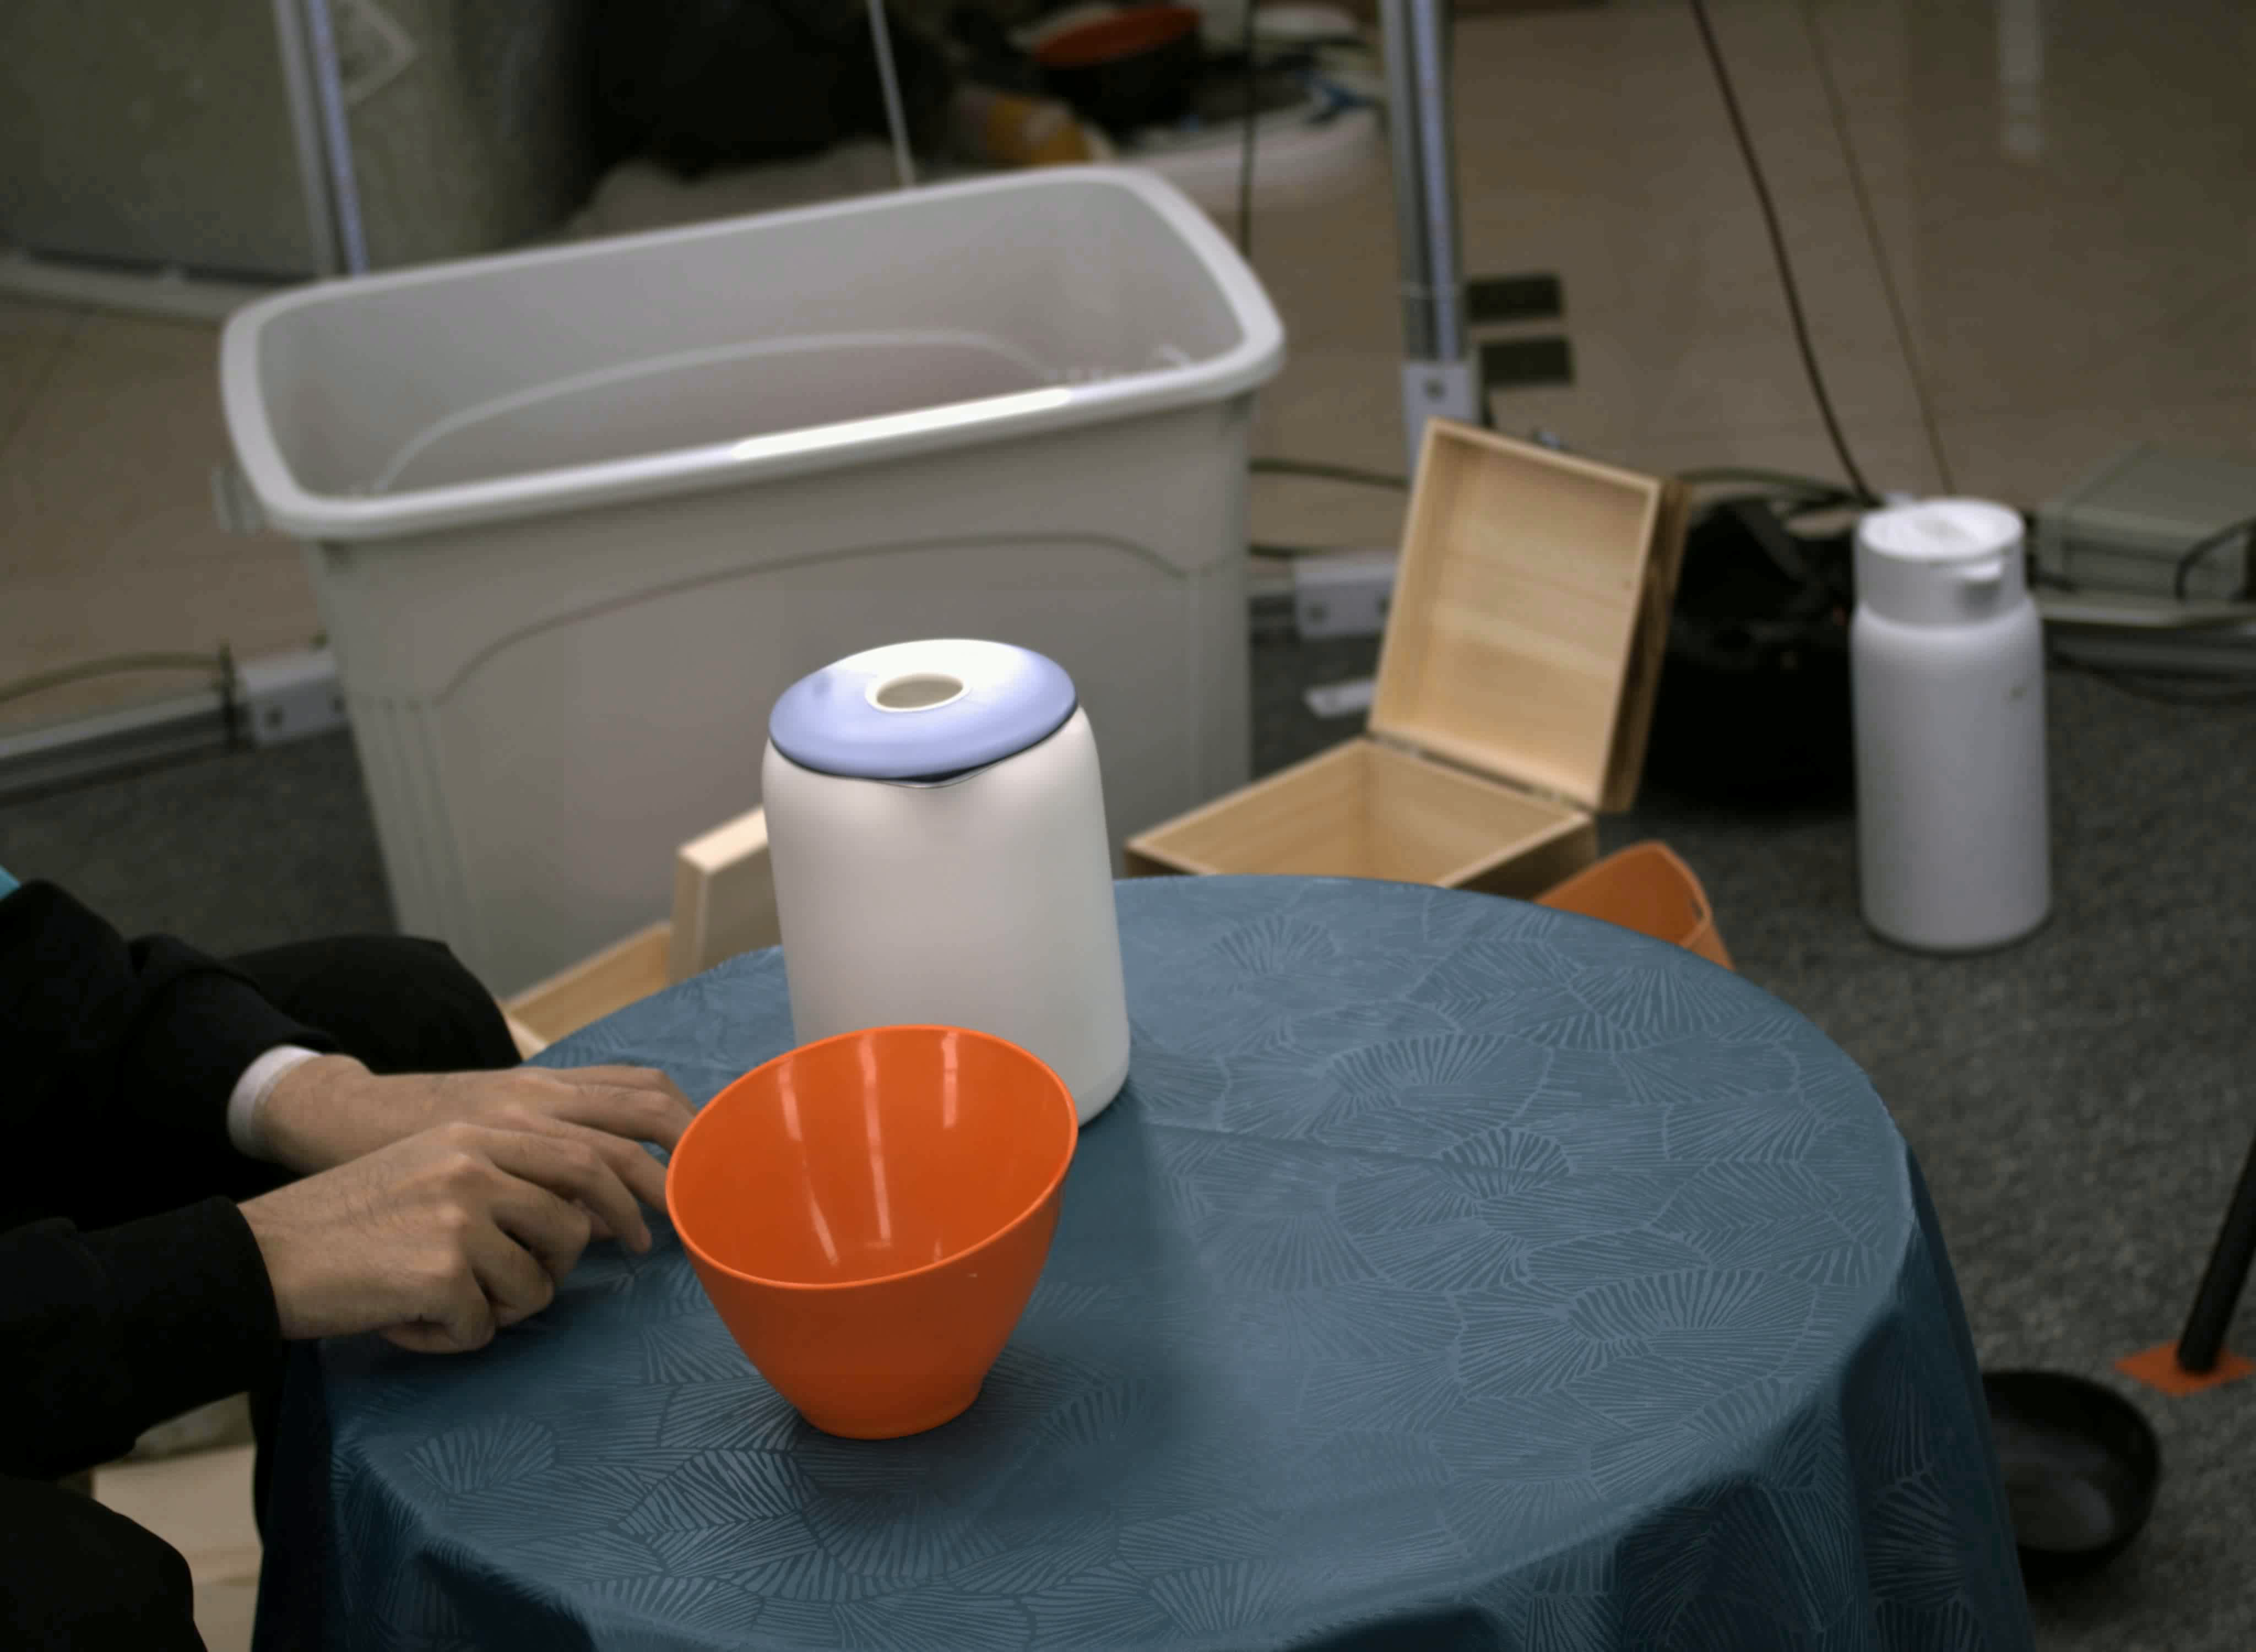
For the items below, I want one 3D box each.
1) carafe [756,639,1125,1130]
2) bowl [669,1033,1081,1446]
[{"bbox_3d":[-0.077,0.020,2.214,0.132,0.185,0.188,-8,23,-7],"label":"carafe"},{"bbox_3d":[-0.085,0.153,2.015,0.148,0.106,0.146,-5,25,3],"label":"bowl"}]
